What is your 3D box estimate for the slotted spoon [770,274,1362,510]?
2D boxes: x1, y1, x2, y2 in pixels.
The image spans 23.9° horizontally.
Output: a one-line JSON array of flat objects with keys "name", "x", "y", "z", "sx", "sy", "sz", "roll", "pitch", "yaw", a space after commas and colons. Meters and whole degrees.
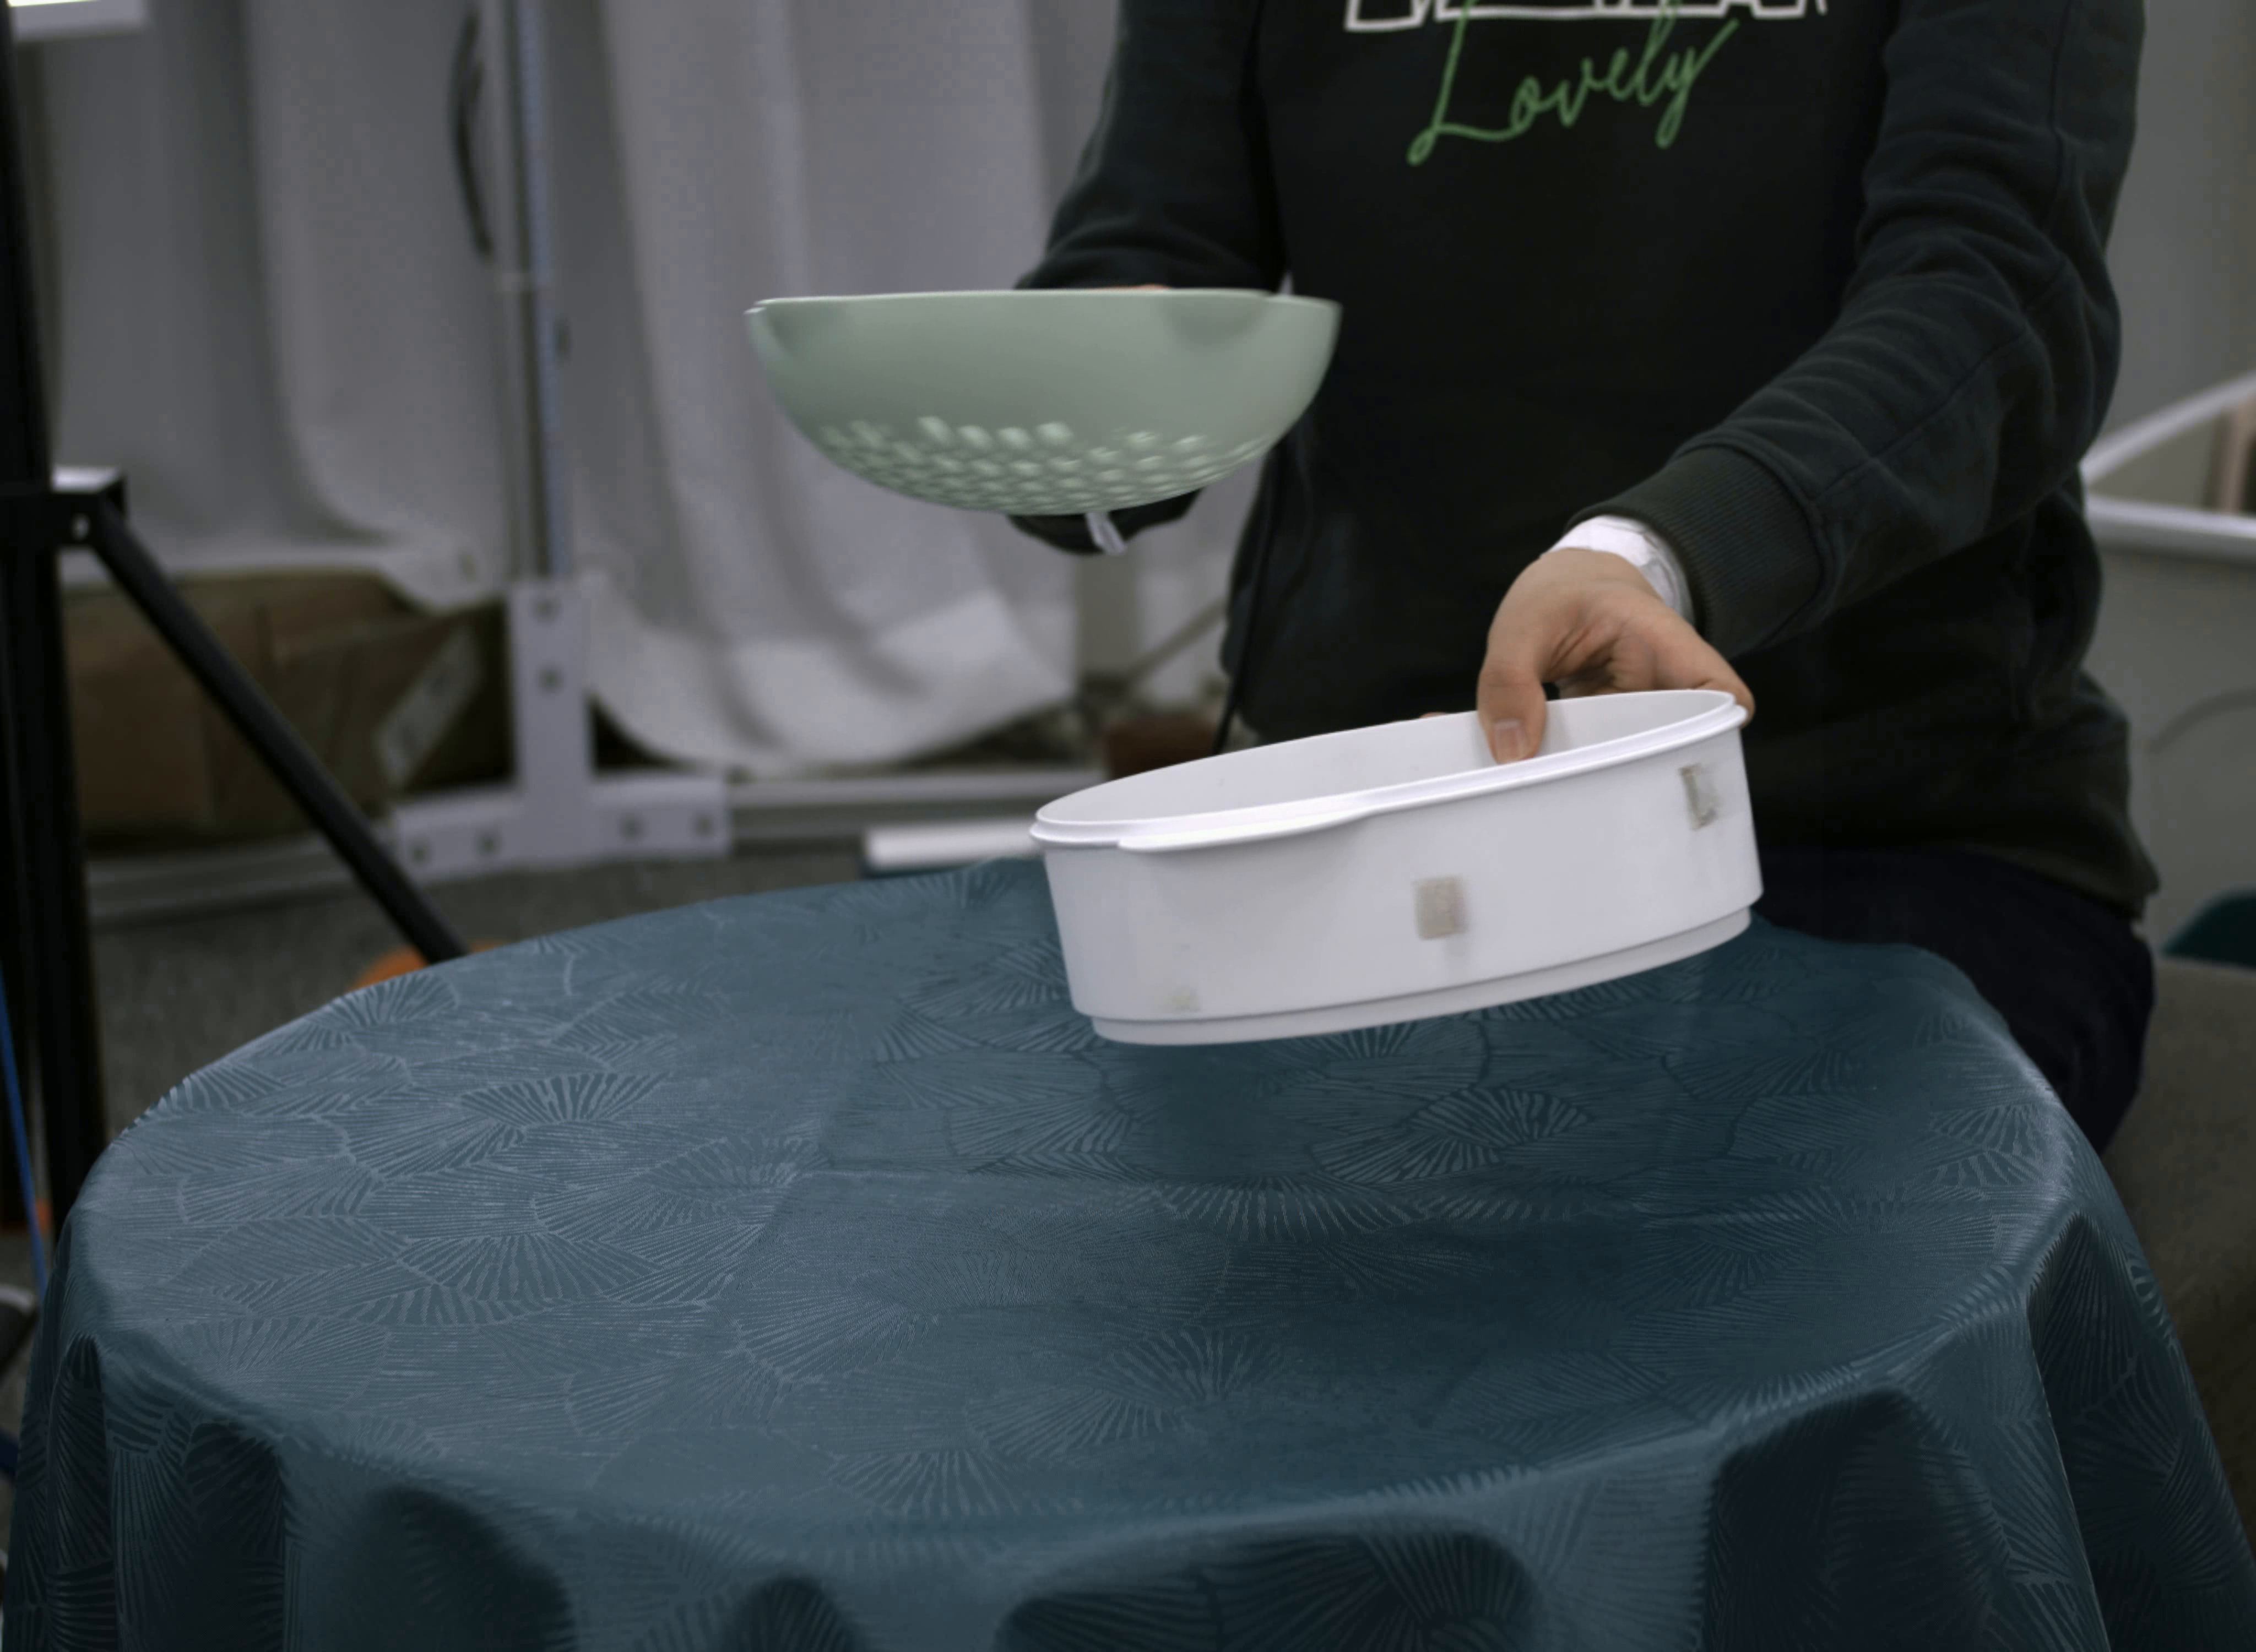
[{"name": "slotted spoon", "x": -0.004, "y": -0.137, "z": 1.611, "sx": 0.170, "sy": 0.075, "sz": 0.357, "roll": 0, "pitch": 9, "yaw": 9}]

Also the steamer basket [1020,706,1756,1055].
[{"name": "steamer basket", "x": 0.074, "y": 0.016, "z": 1.459, "sx": 0.205, "sy": 0.069, "sz": 0.226, "roll": -6, "pitch": 6, "yaw": 27}]
